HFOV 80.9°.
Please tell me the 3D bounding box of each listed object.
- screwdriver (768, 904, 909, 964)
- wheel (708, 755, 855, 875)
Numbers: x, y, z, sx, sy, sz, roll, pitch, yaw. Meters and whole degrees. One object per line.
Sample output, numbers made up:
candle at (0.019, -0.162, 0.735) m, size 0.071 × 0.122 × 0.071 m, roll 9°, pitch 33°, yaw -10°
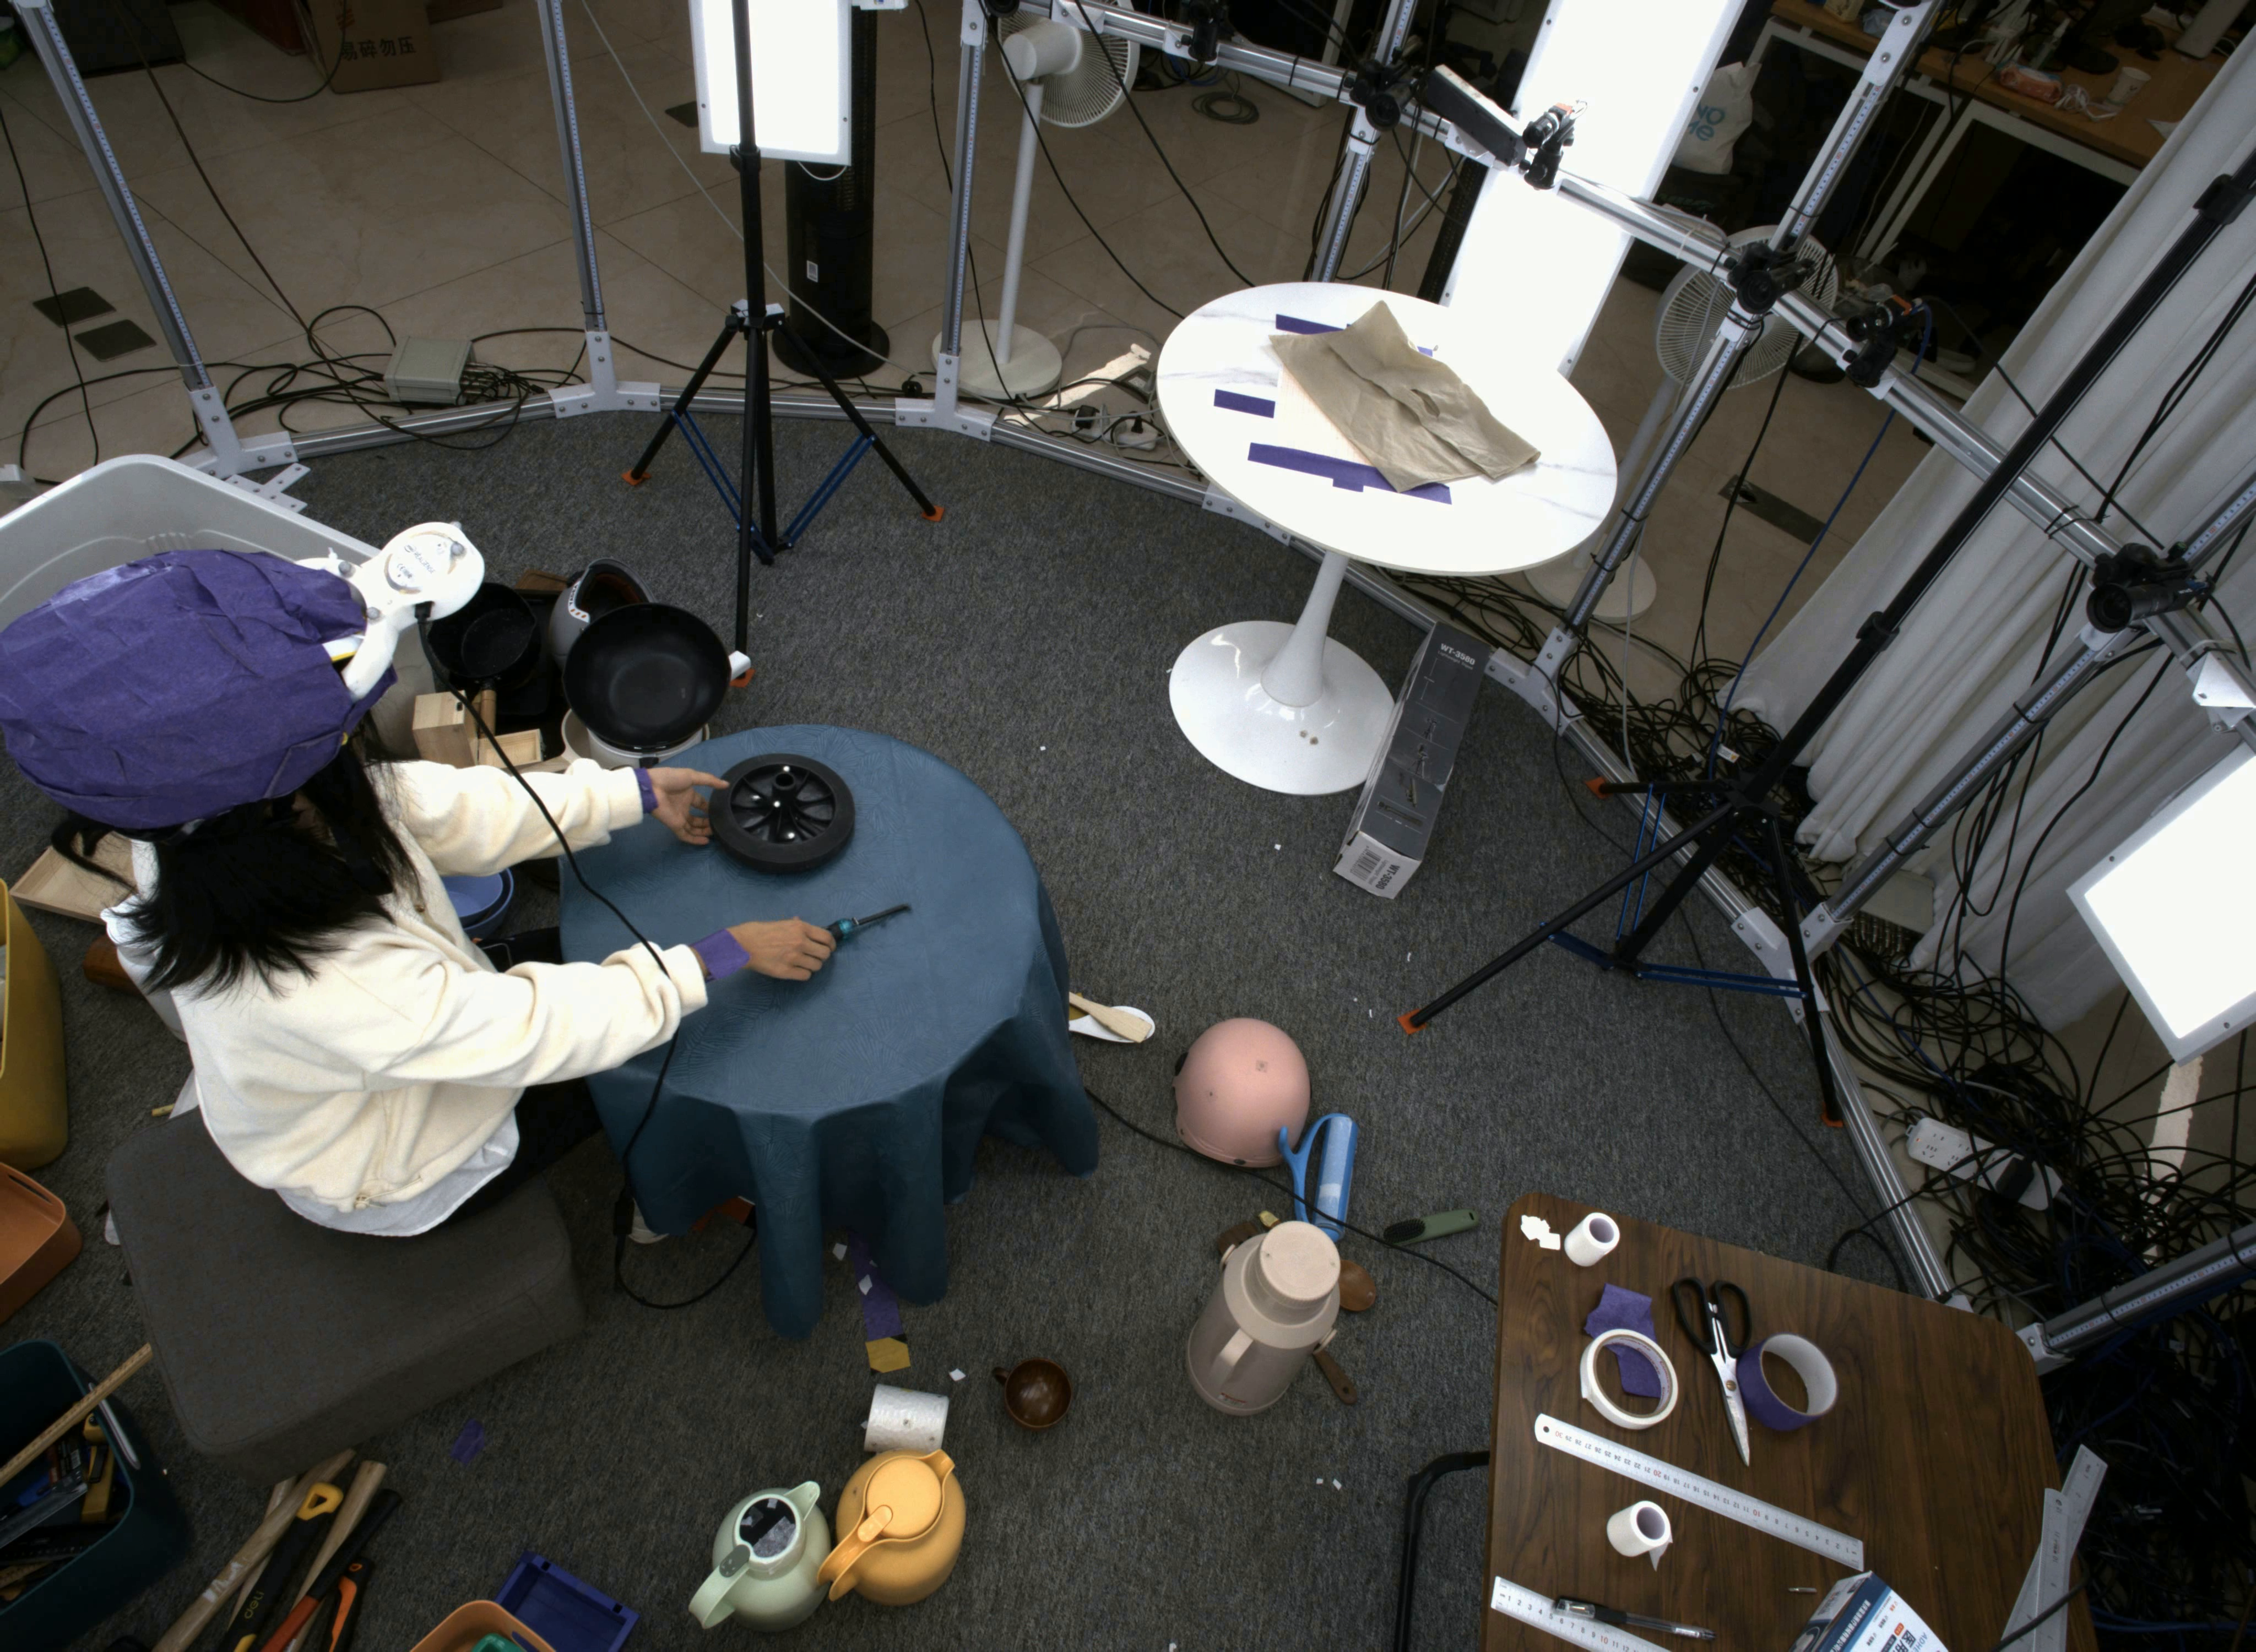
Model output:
screwdriver at (-0.358, 0.128, 1.625) m, size 0.191 × 0.034 × 0.033 m, roll -19°, pitch 59°, yaw -34°
wheel at (-0.450, -0.031, 1.686) m, size 0.190 × 0.080 × 0.184 m, roll 16°, pitch 49°, yaw -9°
